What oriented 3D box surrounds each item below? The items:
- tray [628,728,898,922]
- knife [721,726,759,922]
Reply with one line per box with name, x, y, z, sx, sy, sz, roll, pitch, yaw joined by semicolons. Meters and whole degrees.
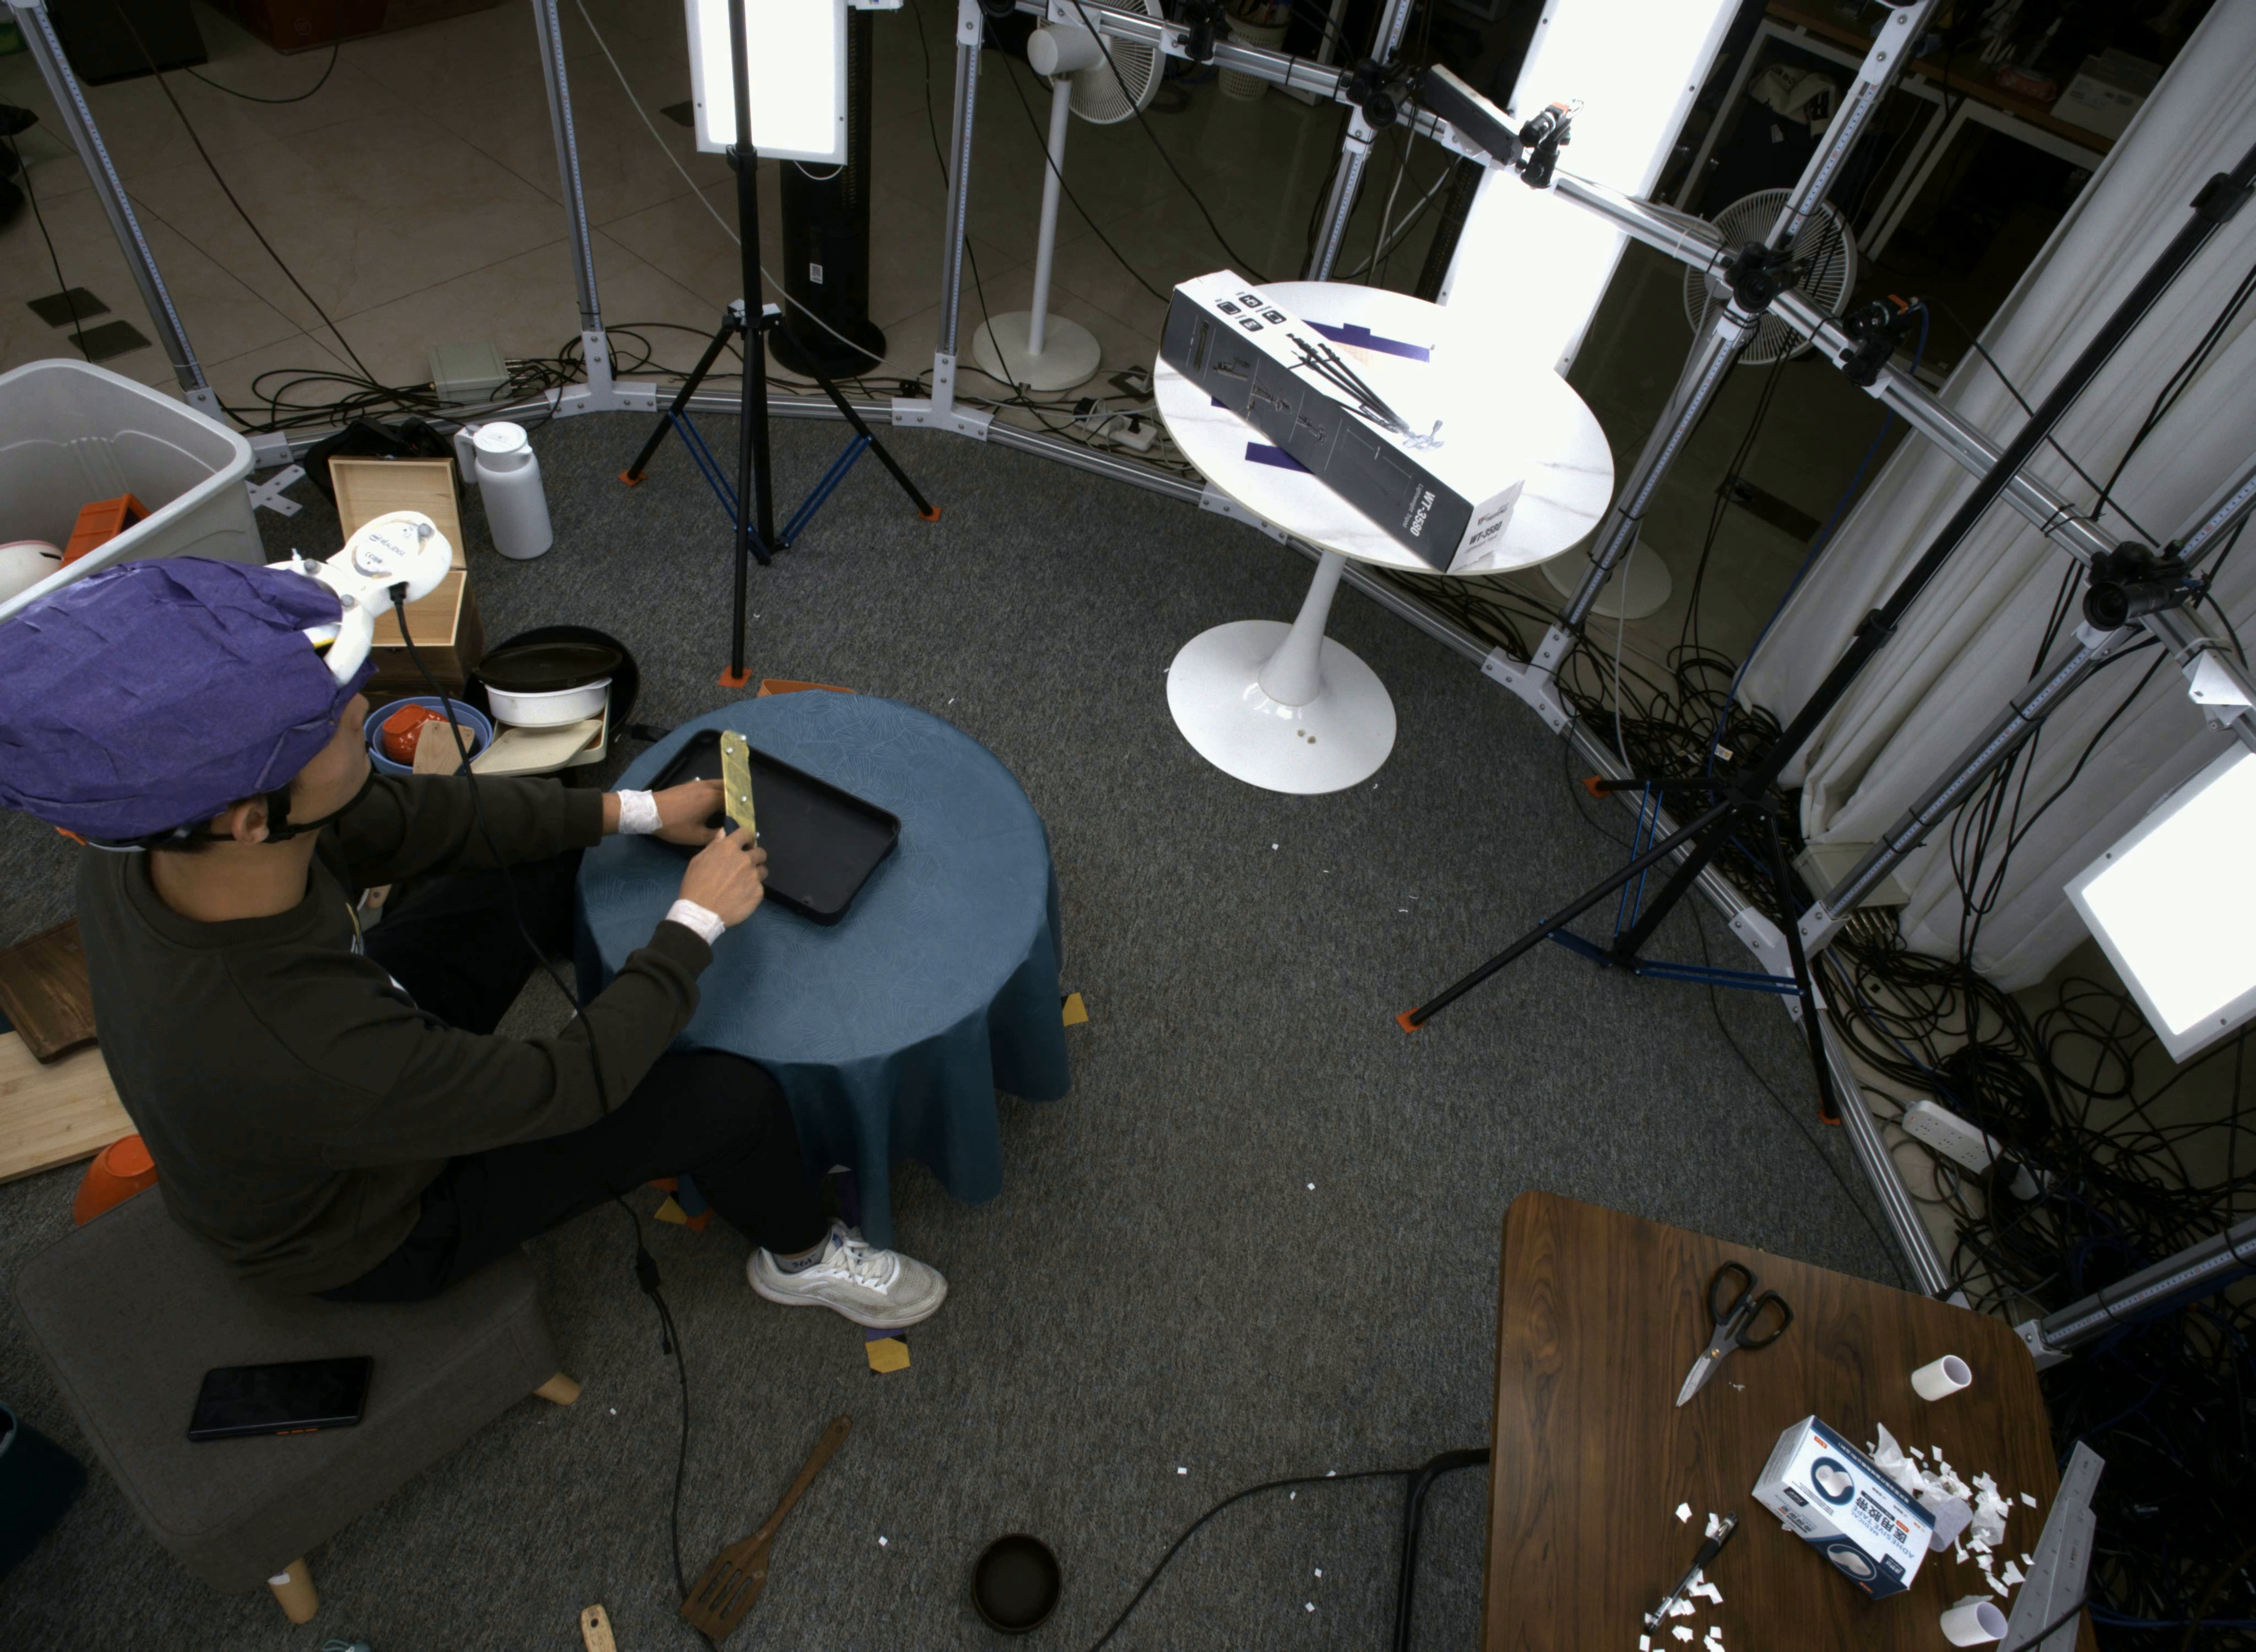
tray;-0.478;-0.005;1.701;0.314;0.038;0.183;24;52;4
knife;-0.482;-0.007;1.607;0.027;0.084;0.284;-17;60;10
